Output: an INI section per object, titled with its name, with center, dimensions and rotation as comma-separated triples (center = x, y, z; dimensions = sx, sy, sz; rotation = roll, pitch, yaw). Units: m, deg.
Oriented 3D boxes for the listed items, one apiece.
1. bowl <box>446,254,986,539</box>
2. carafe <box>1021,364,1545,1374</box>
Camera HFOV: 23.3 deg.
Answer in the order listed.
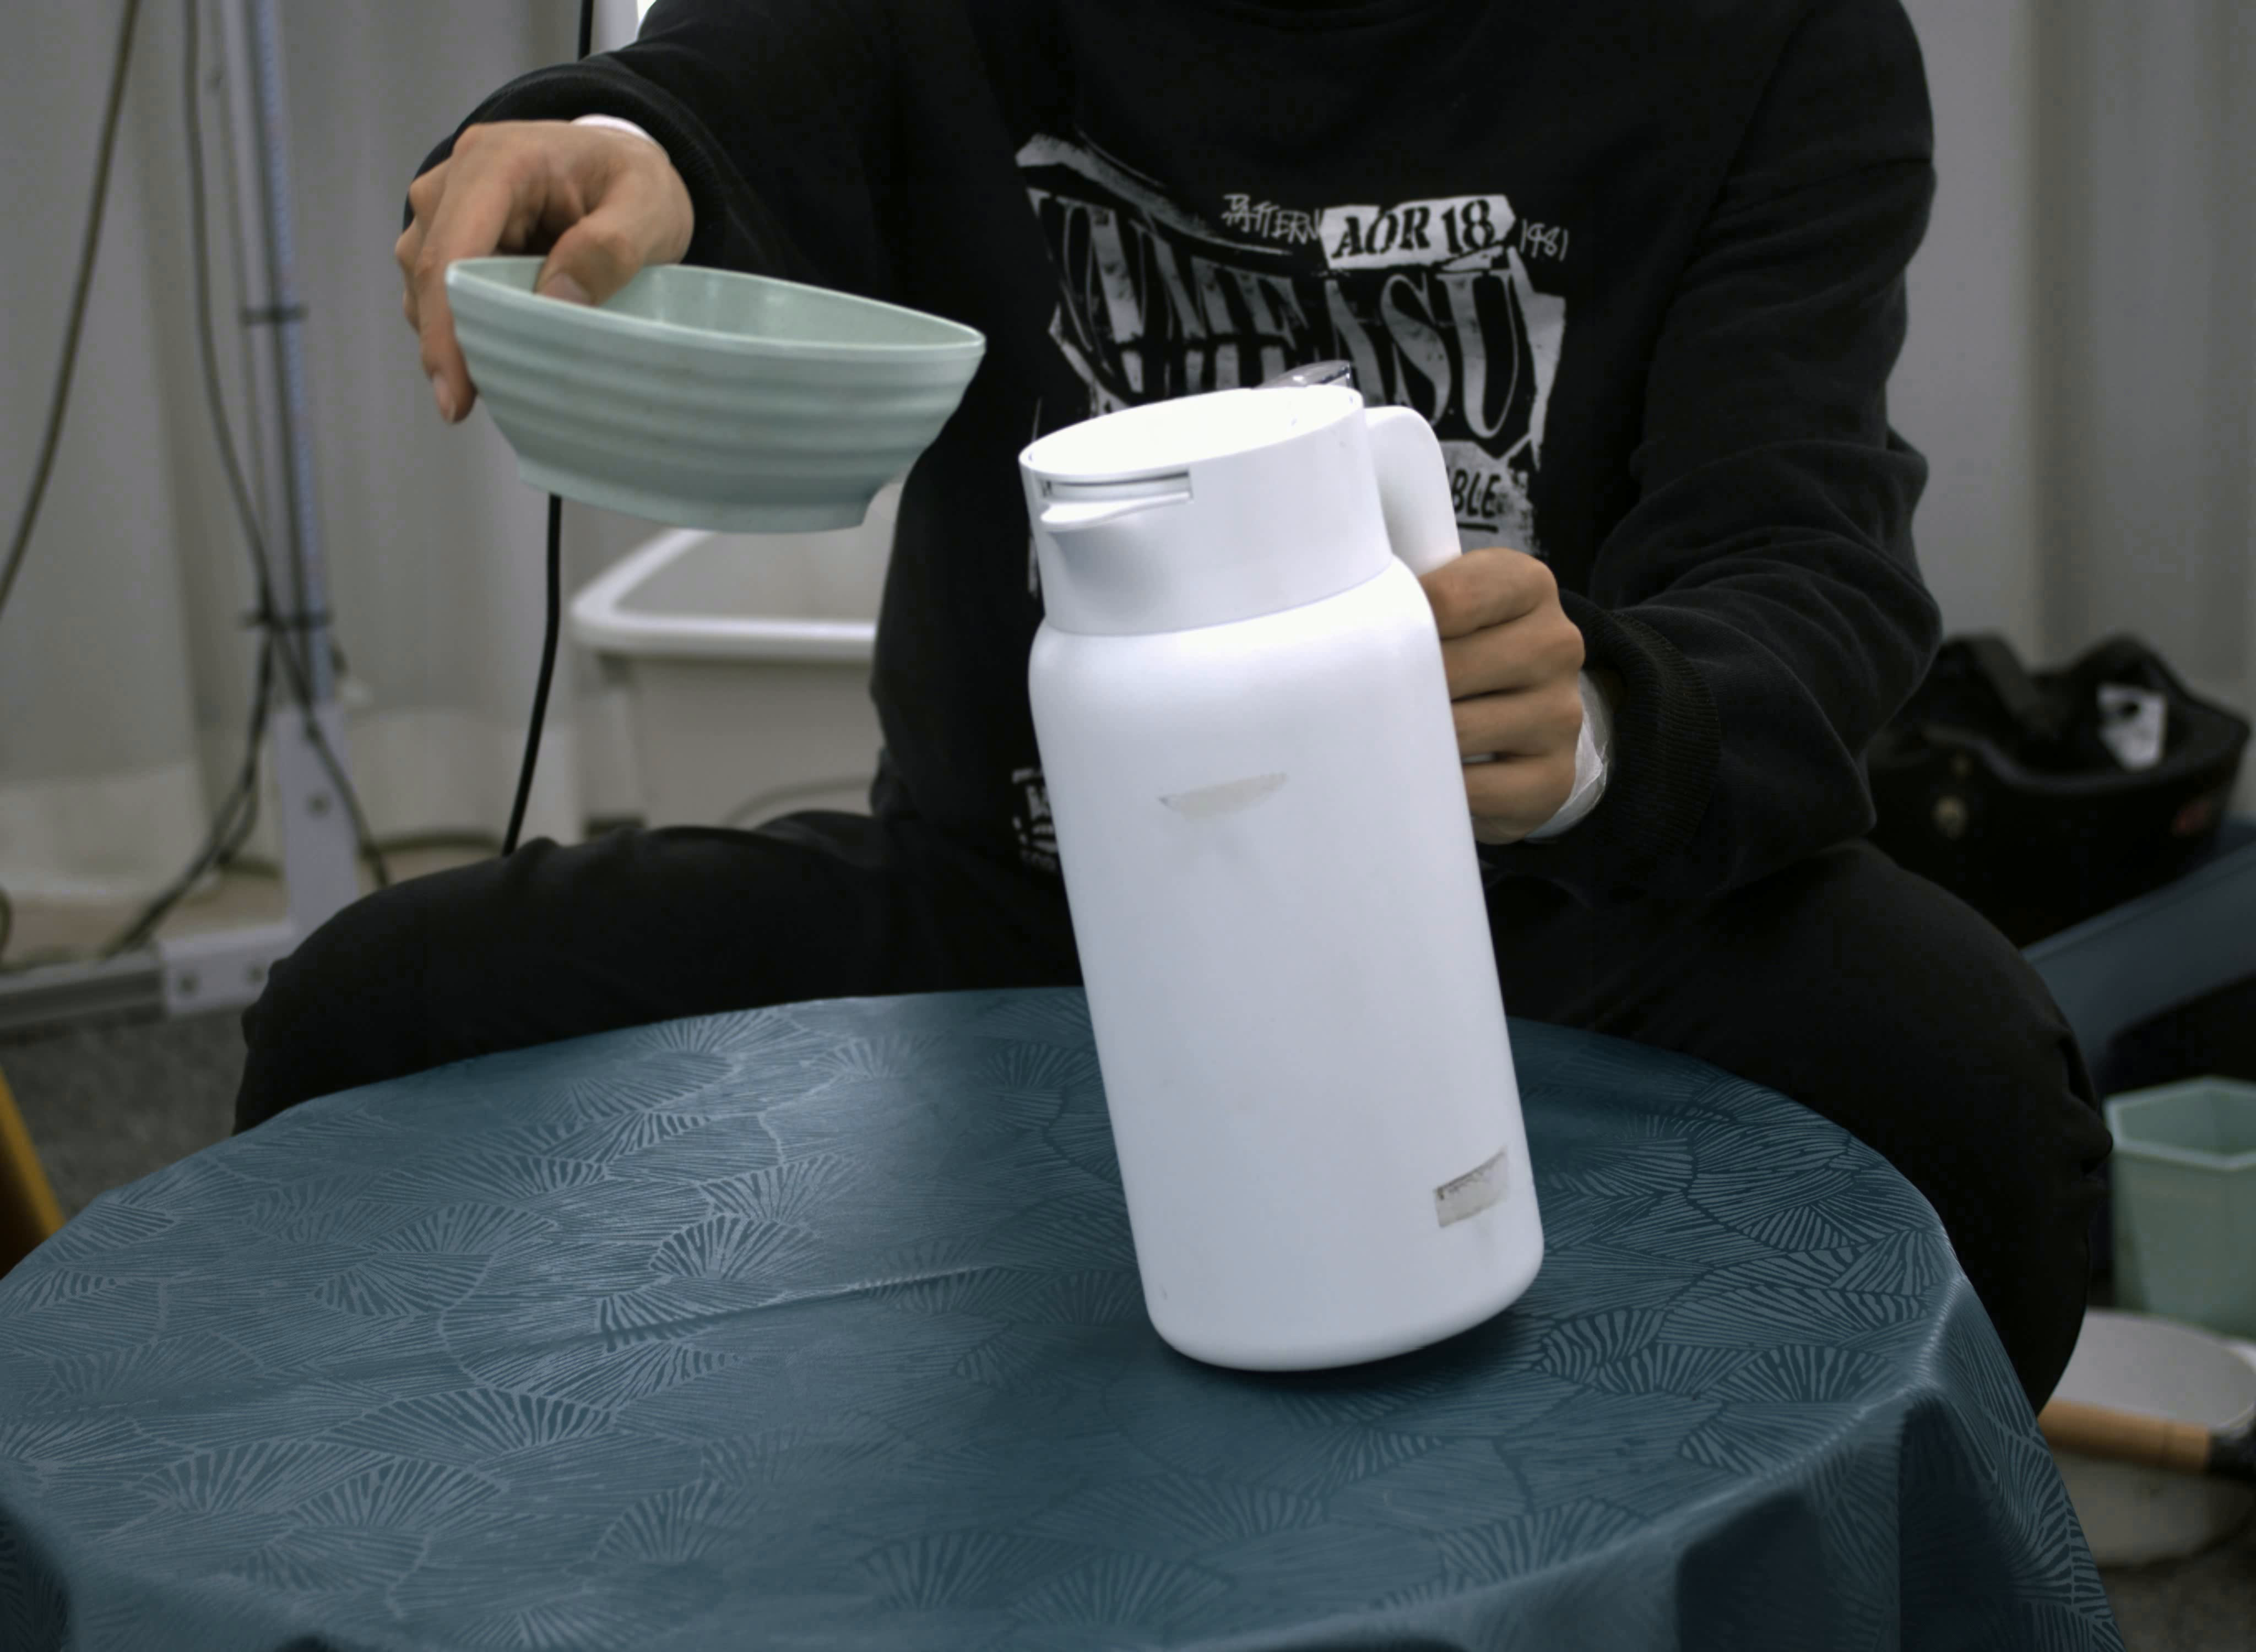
[bowl]
center = -0.118, -0.118, 1.529
dimensions = 0.151, 0.058, 0.152
rotation = 8, 13, -2
[carafe]
center = 0.050, 0.008, 1.569
dimensions = 0.124, 0.268, 0.173
rotation = -4, 15, 36
